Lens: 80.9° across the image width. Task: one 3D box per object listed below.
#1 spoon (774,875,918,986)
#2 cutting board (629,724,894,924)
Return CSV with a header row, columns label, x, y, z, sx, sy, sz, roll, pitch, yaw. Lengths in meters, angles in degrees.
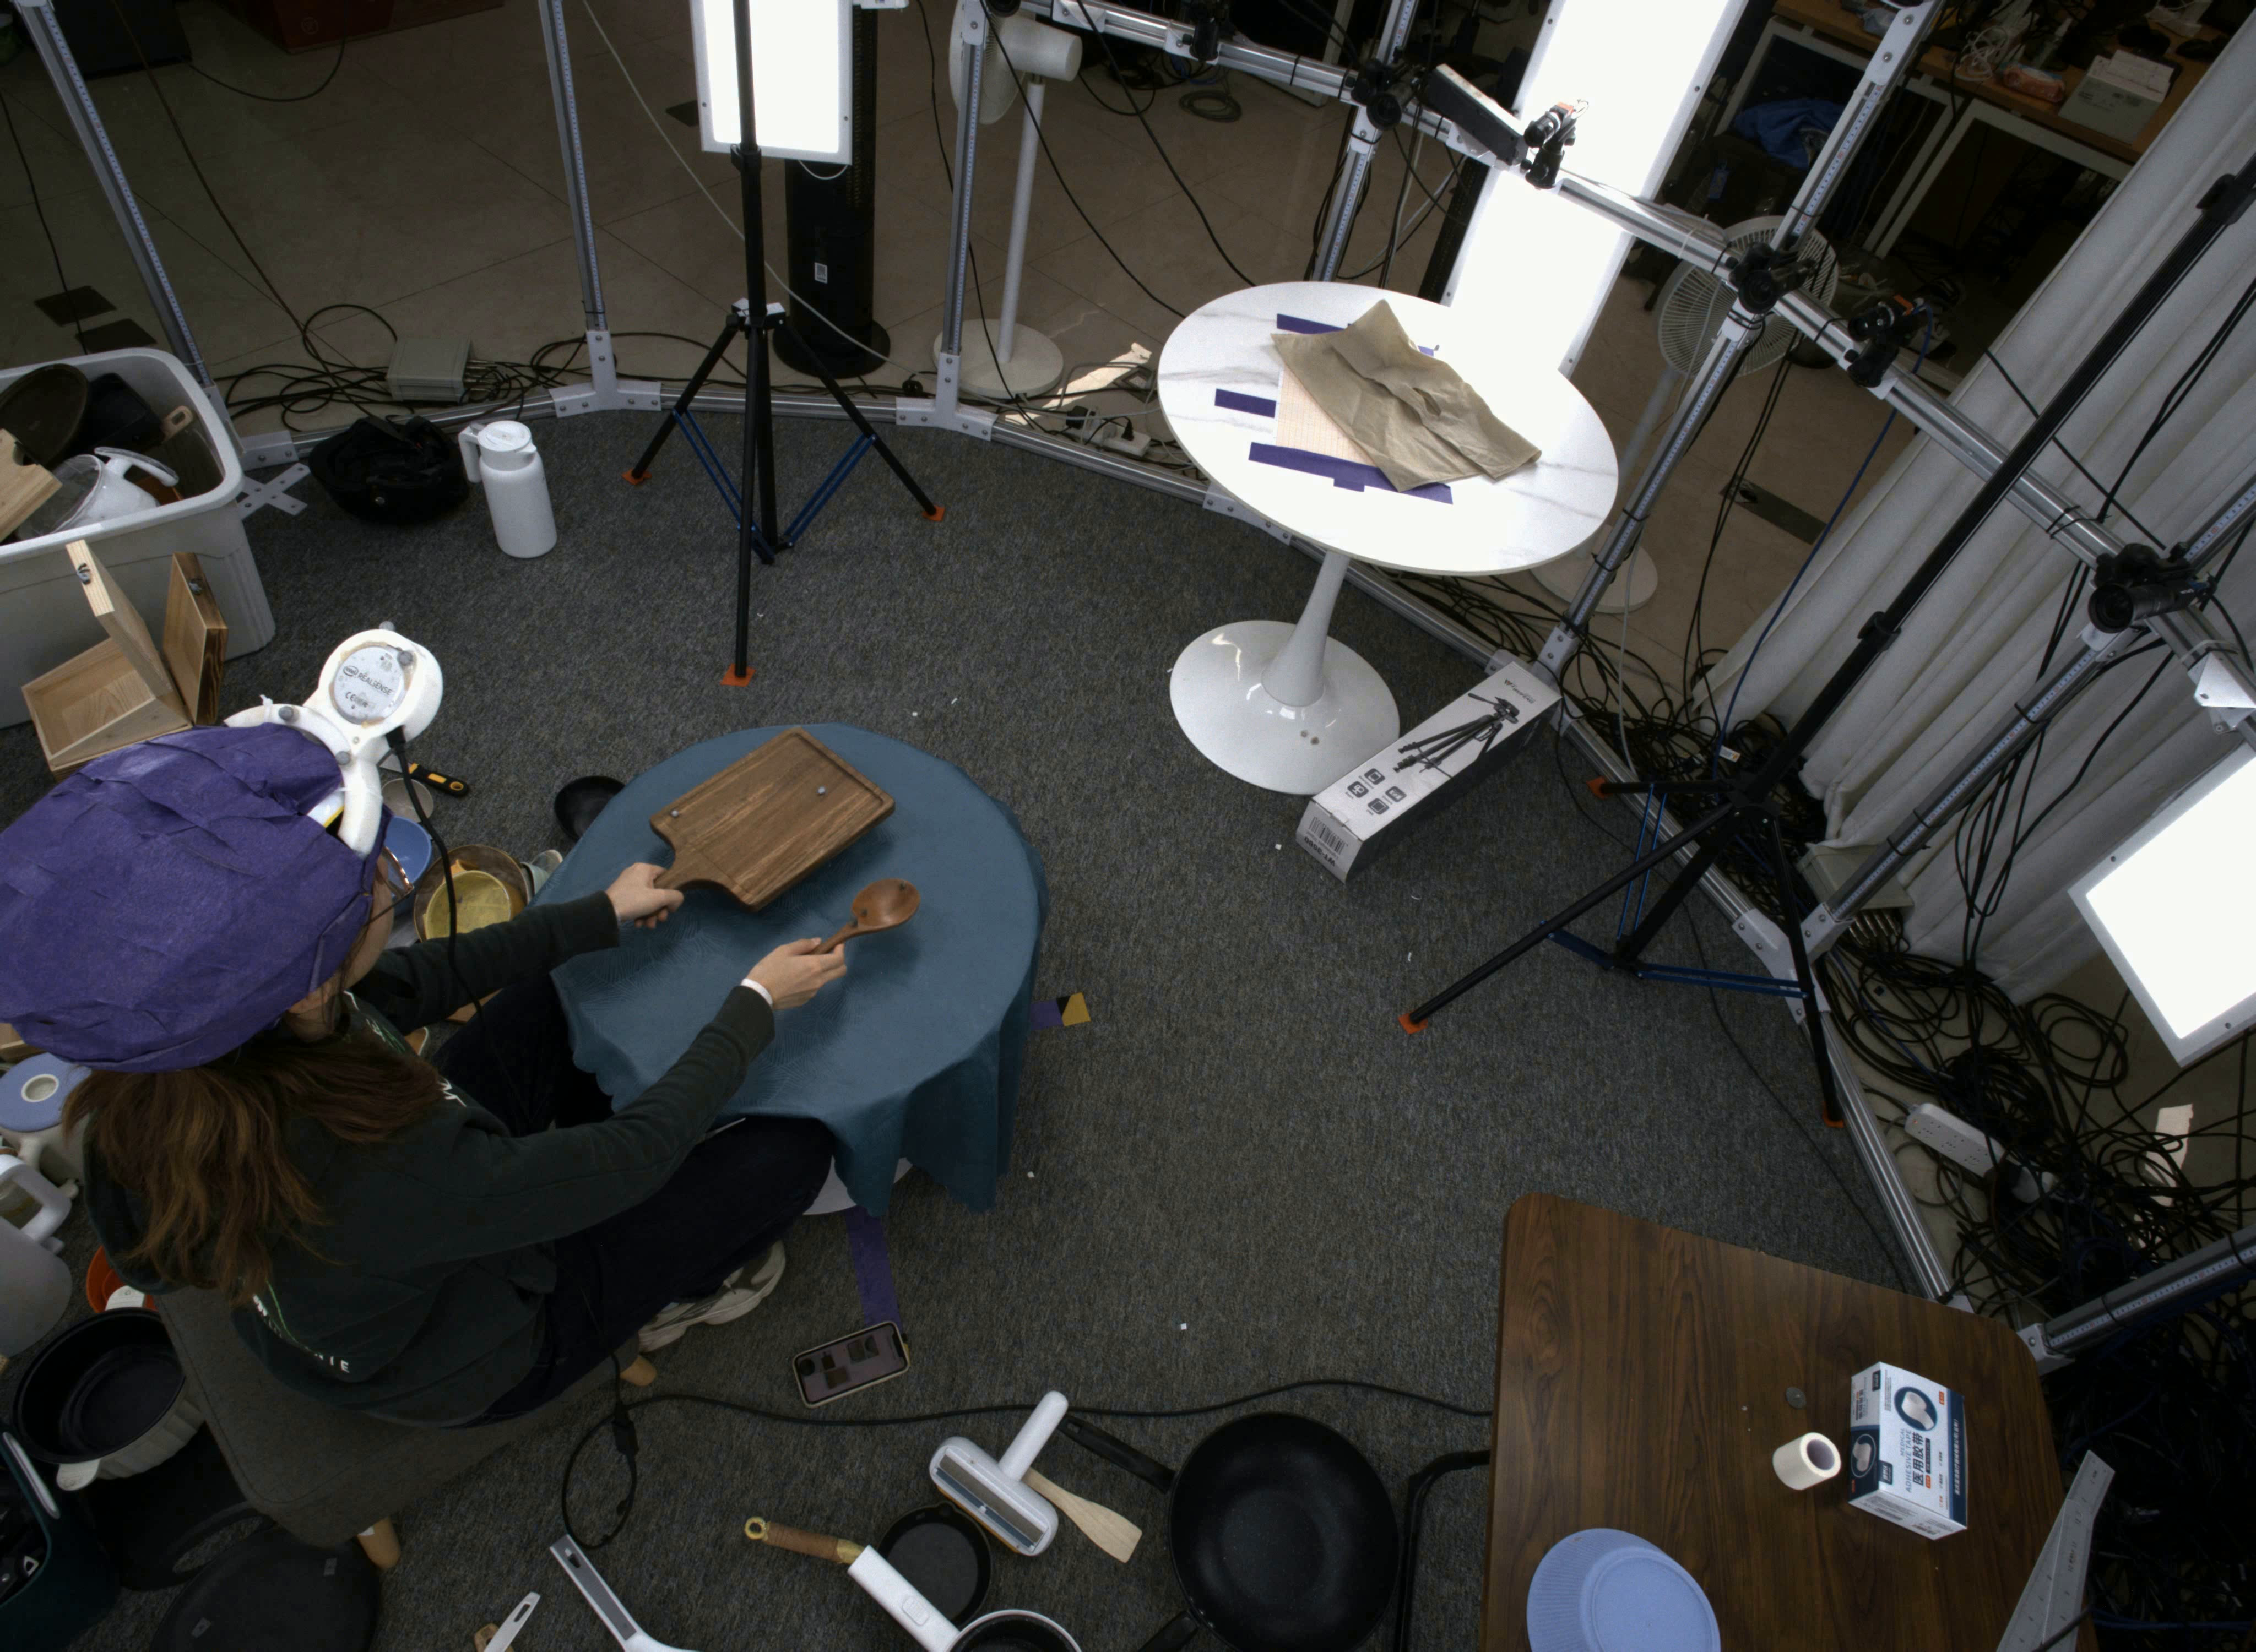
label,x,y,z,sx,sy,sz,roll,pitch,yaw
spoon,-0.342,0.125,1.571,0.073,0.017,0.216,36,49,18
cutting board,-0.487,0.010,1.637,0.197,0.024,0.352,37,52,15
